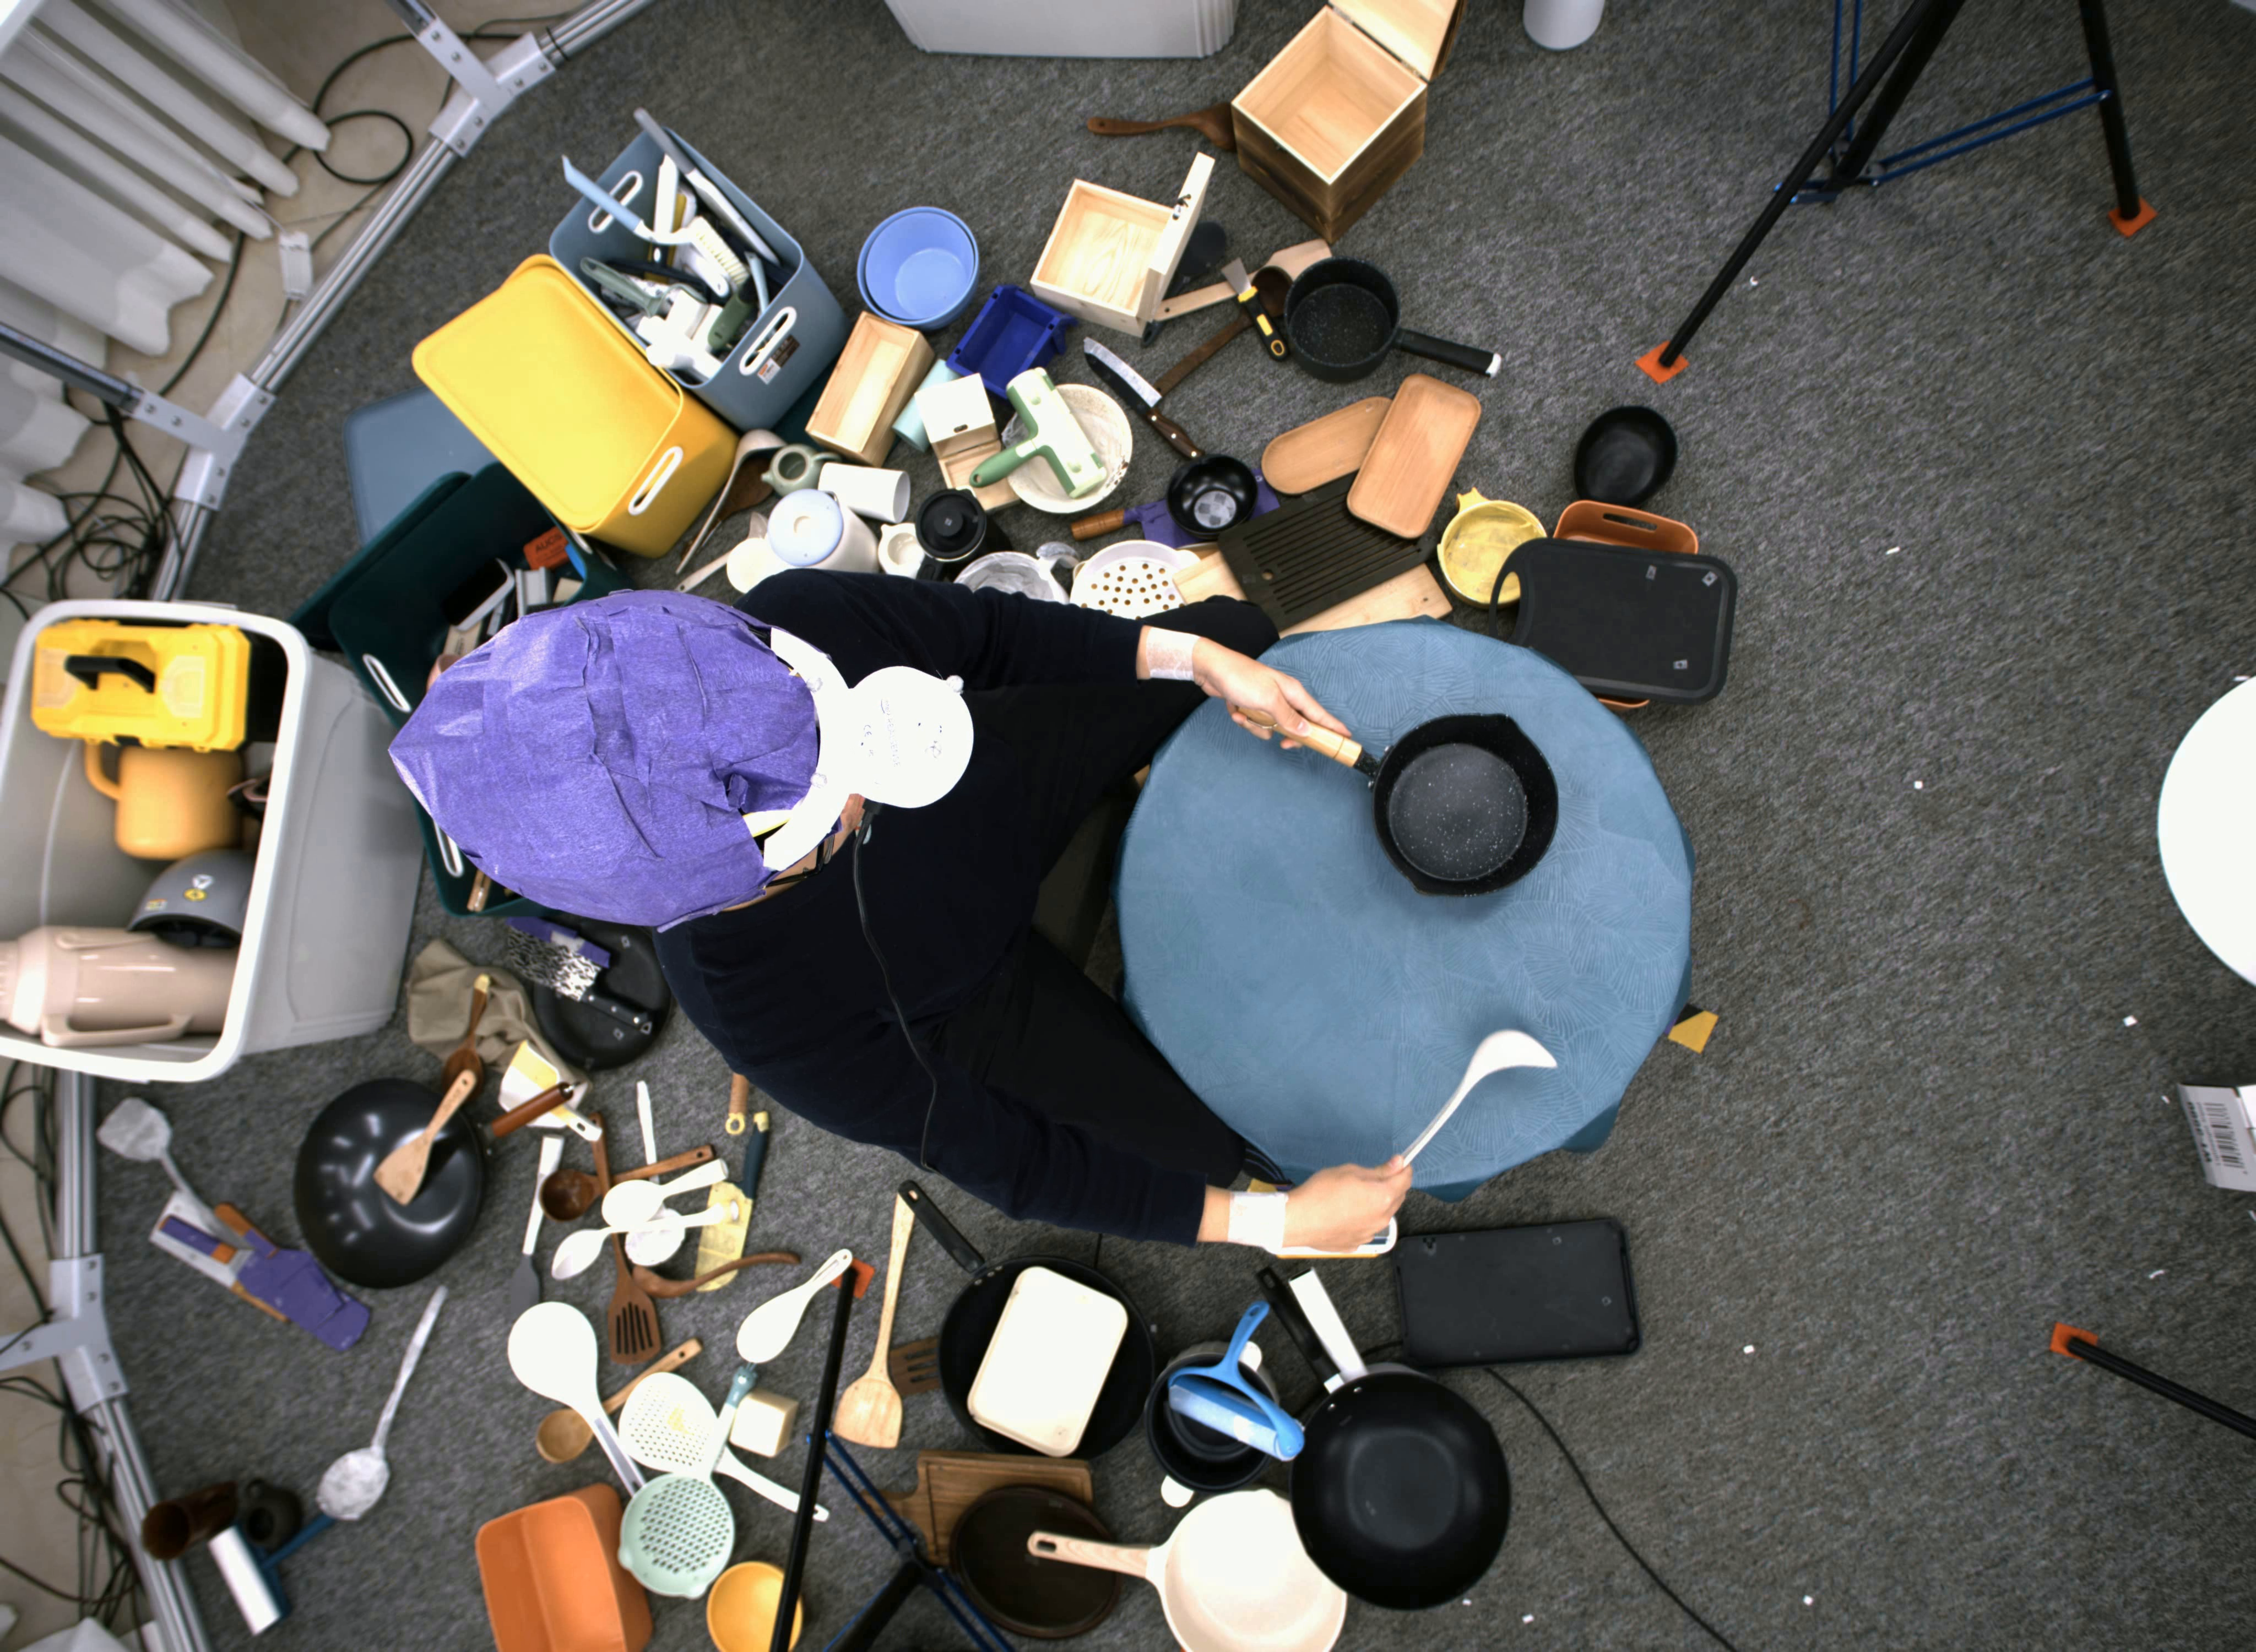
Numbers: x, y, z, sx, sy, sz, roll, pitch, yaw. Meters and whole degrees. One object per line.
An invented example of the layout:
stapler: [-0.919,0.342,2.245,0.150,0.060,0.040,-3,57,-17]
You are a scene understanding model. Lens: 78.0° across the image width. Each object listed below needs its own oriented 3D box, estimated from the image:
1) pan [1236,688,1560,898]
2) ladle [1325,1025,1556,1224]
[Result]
pan: [0.268,-0.053,1.408,0.343,0.108,0.208,24,92,8]
ladle: [0.308,0.304,1.353,0.069,0.089,0.273,43,84,-3]
